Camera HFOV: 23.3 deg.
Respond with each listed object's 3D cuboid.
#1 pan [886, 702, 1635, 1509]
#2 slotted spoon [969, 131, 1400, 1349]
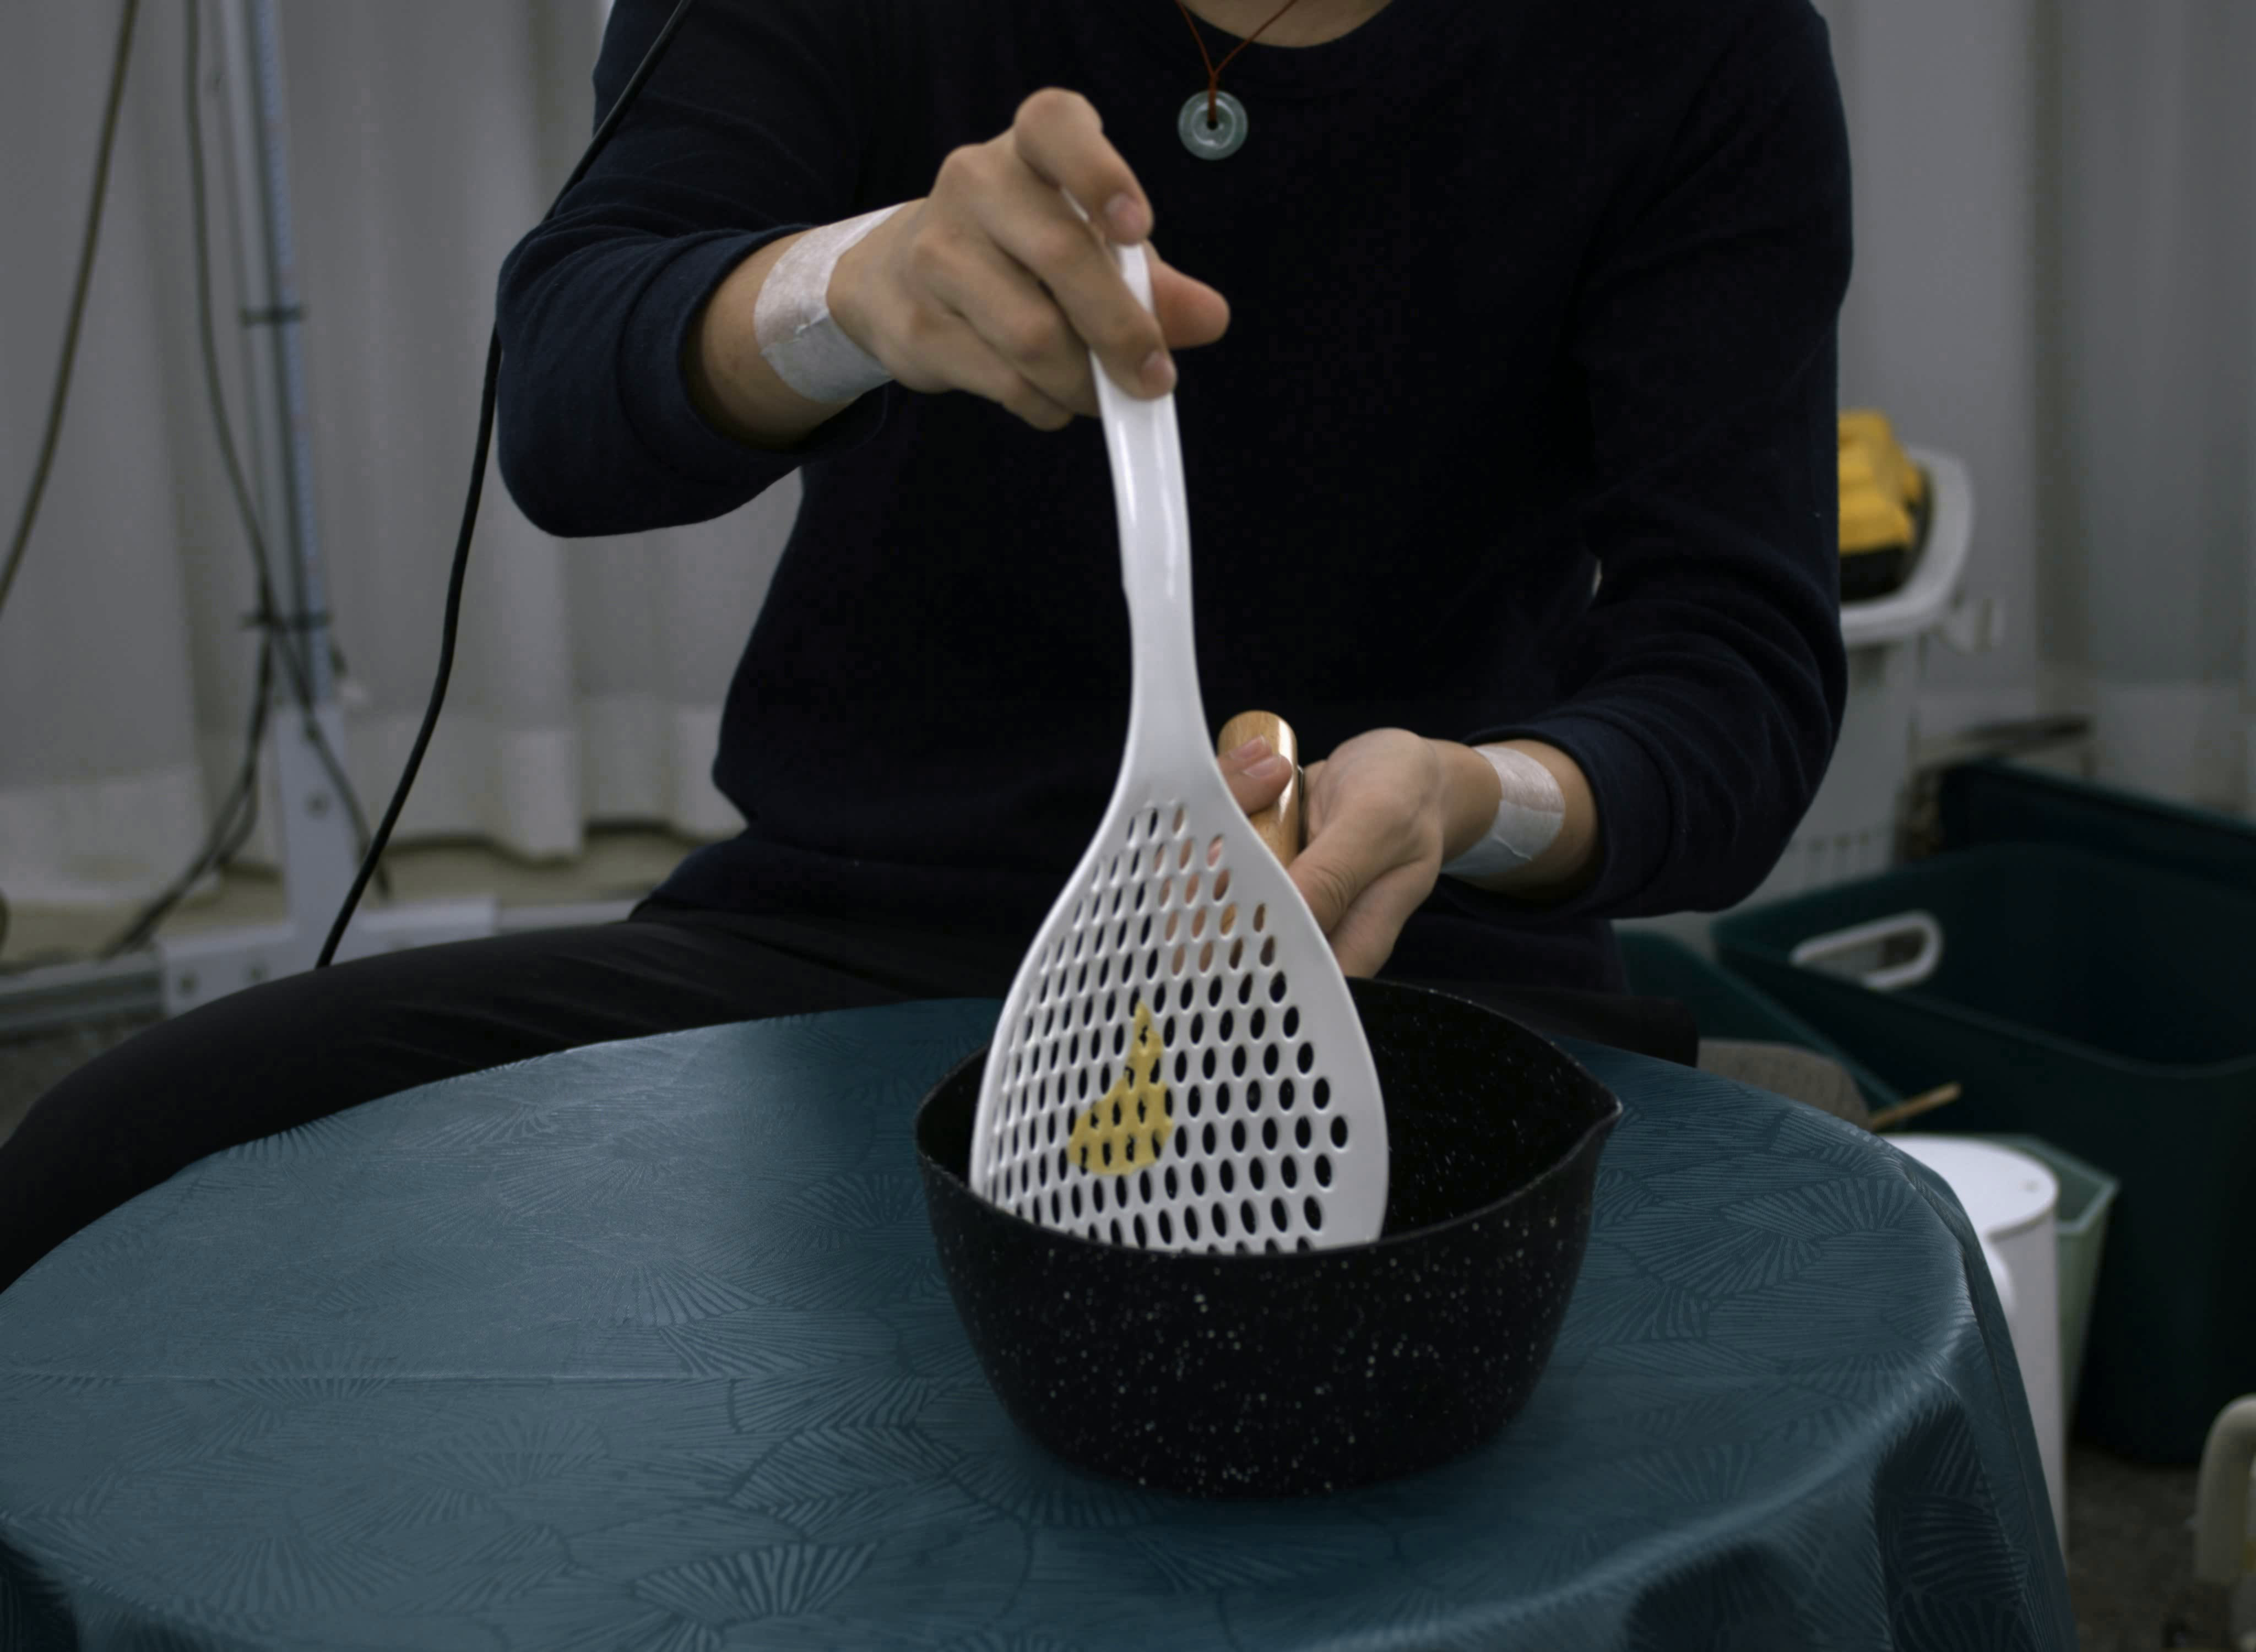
[{"bbox_3d":[0.038,0.076,1.584,0.207,0.107,0.346,-3,23,2],"label":"pan"},{"bbox_3d":[0.003,-0.014,1.489,0.136,0.346,0.050,-10,16,-28],"label":"slotted spoon"}]
